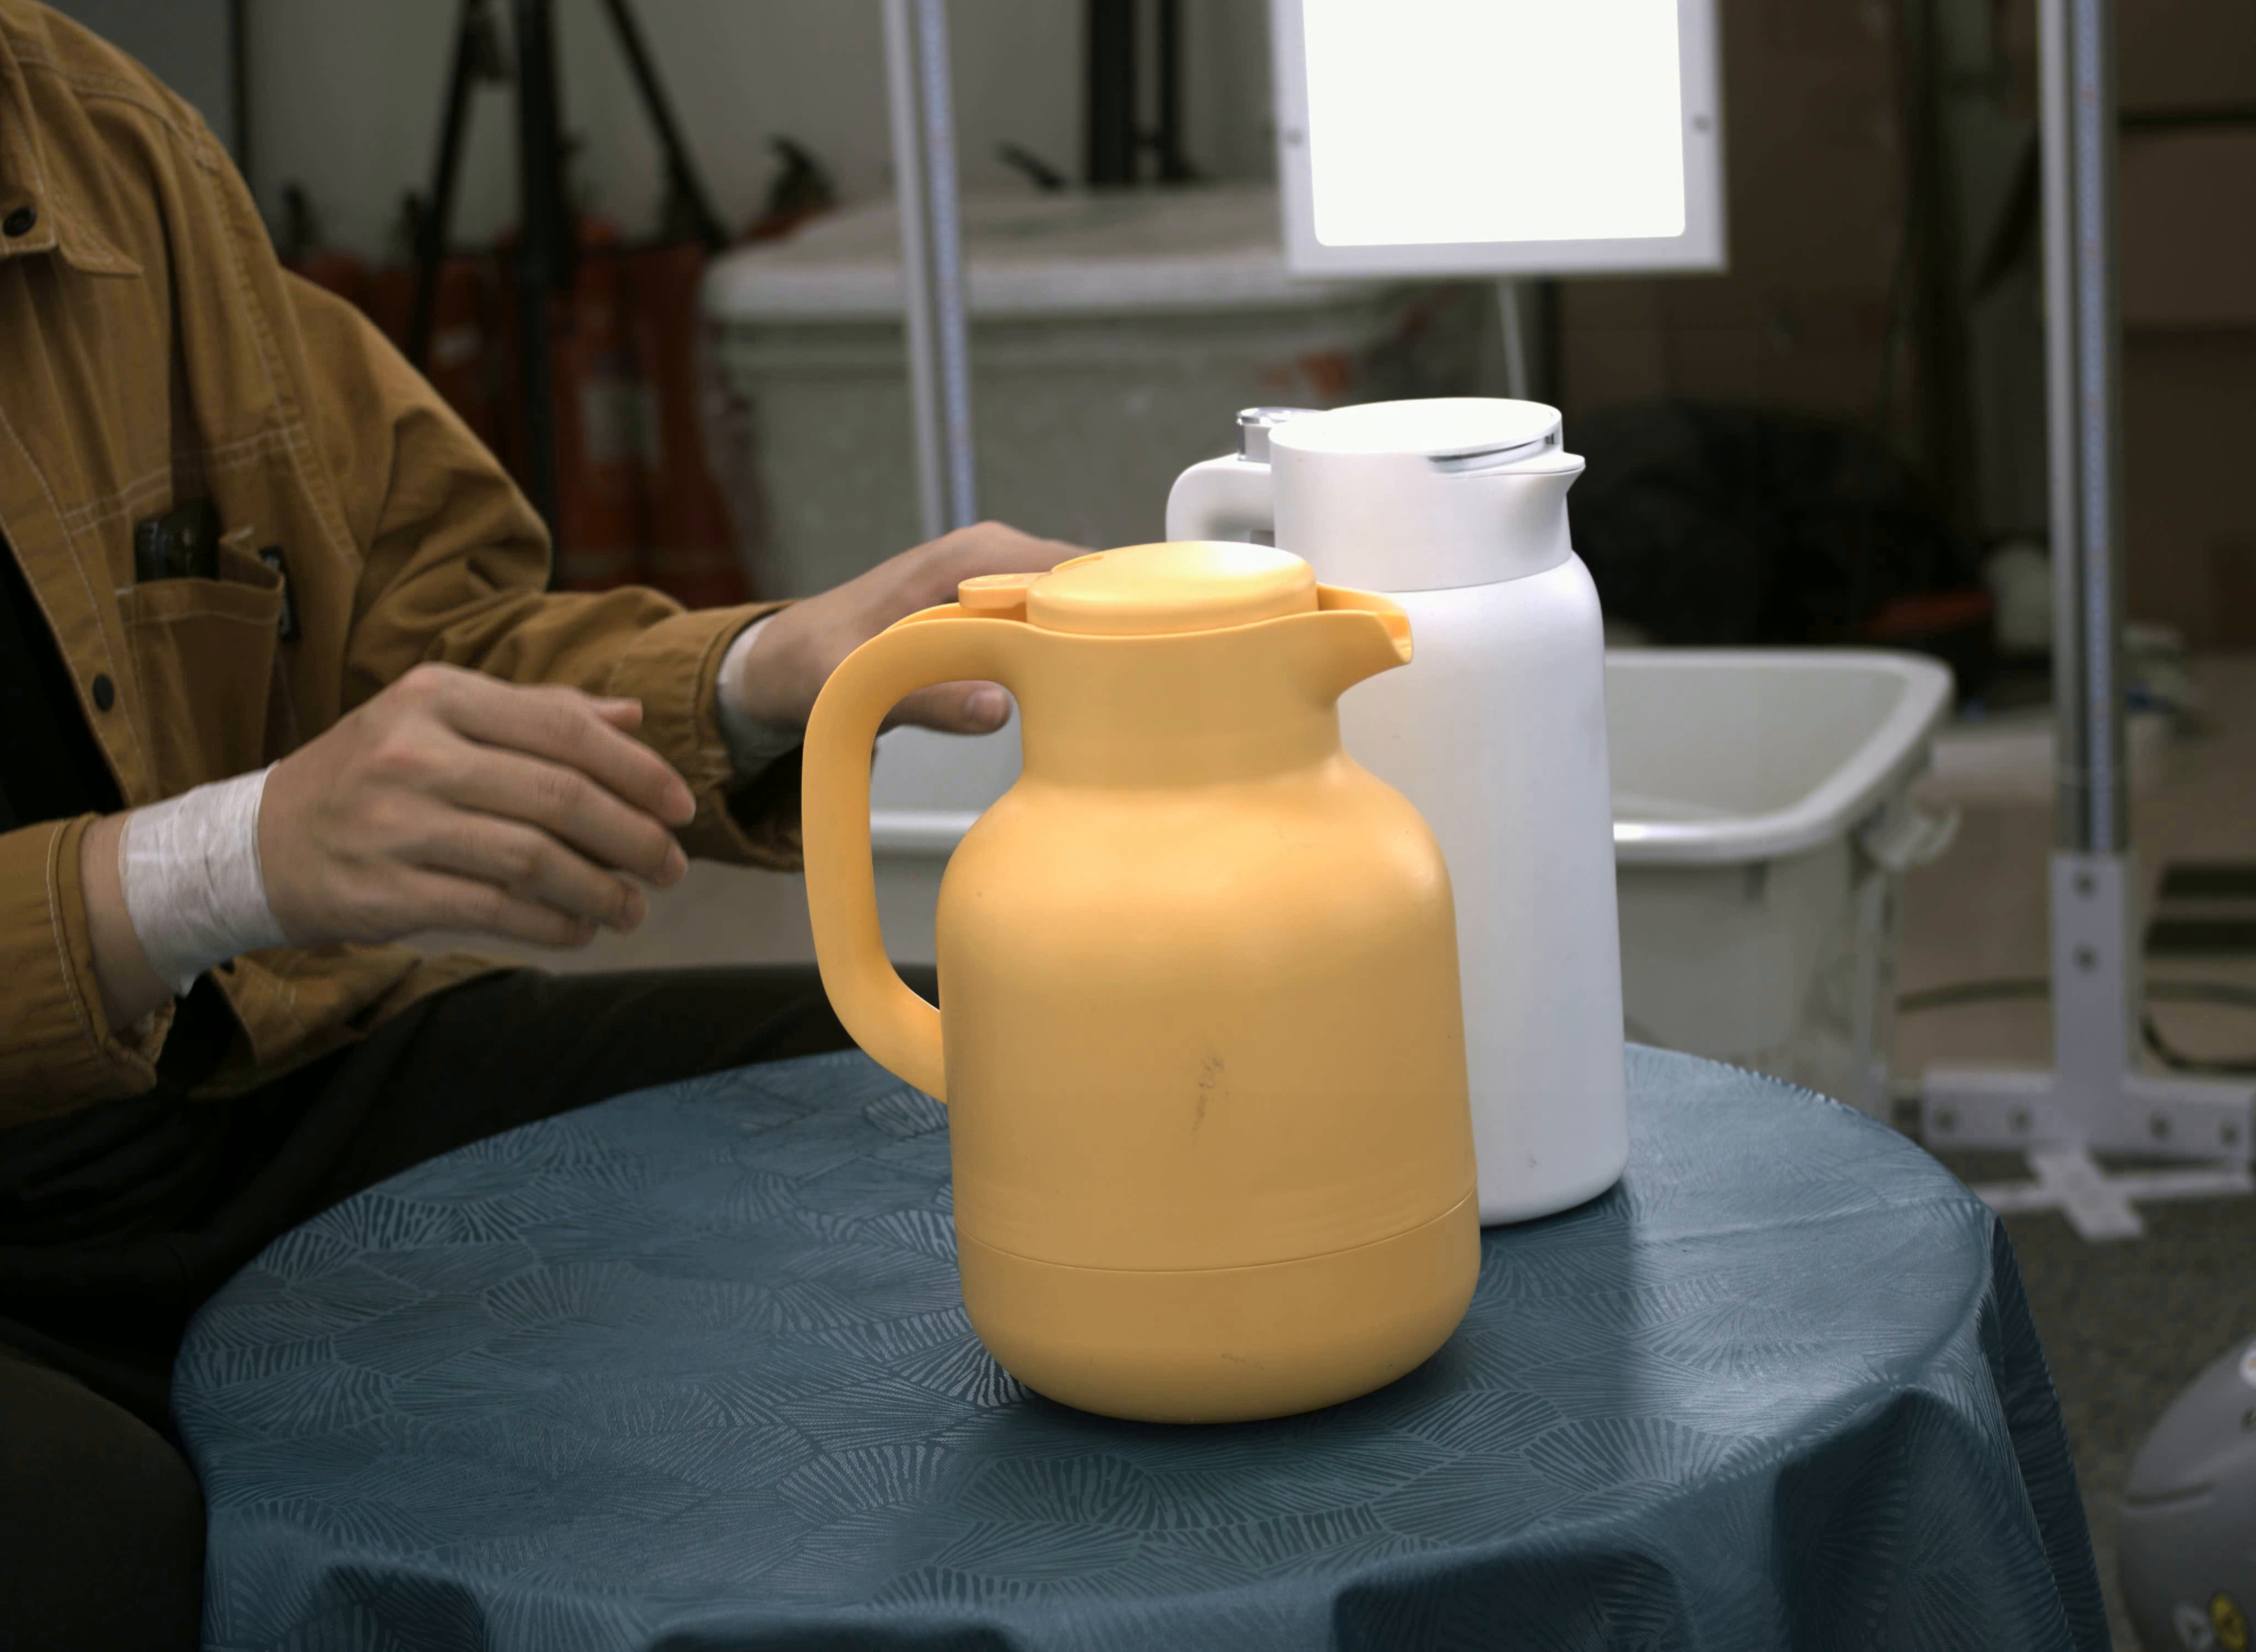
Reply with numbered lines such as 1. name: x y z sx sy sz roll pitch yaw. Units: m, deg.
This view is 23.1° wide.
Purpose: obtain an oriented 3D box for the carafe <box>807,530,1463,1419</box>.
1. carafe: 0.002 0.040 1.692 0.205 0.261 0.160 2 12 20

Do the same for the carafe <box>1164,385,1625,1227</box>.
1. carafe: 0.089 -0.009 1.853 0.176 0.270 0.121 8 21 42
